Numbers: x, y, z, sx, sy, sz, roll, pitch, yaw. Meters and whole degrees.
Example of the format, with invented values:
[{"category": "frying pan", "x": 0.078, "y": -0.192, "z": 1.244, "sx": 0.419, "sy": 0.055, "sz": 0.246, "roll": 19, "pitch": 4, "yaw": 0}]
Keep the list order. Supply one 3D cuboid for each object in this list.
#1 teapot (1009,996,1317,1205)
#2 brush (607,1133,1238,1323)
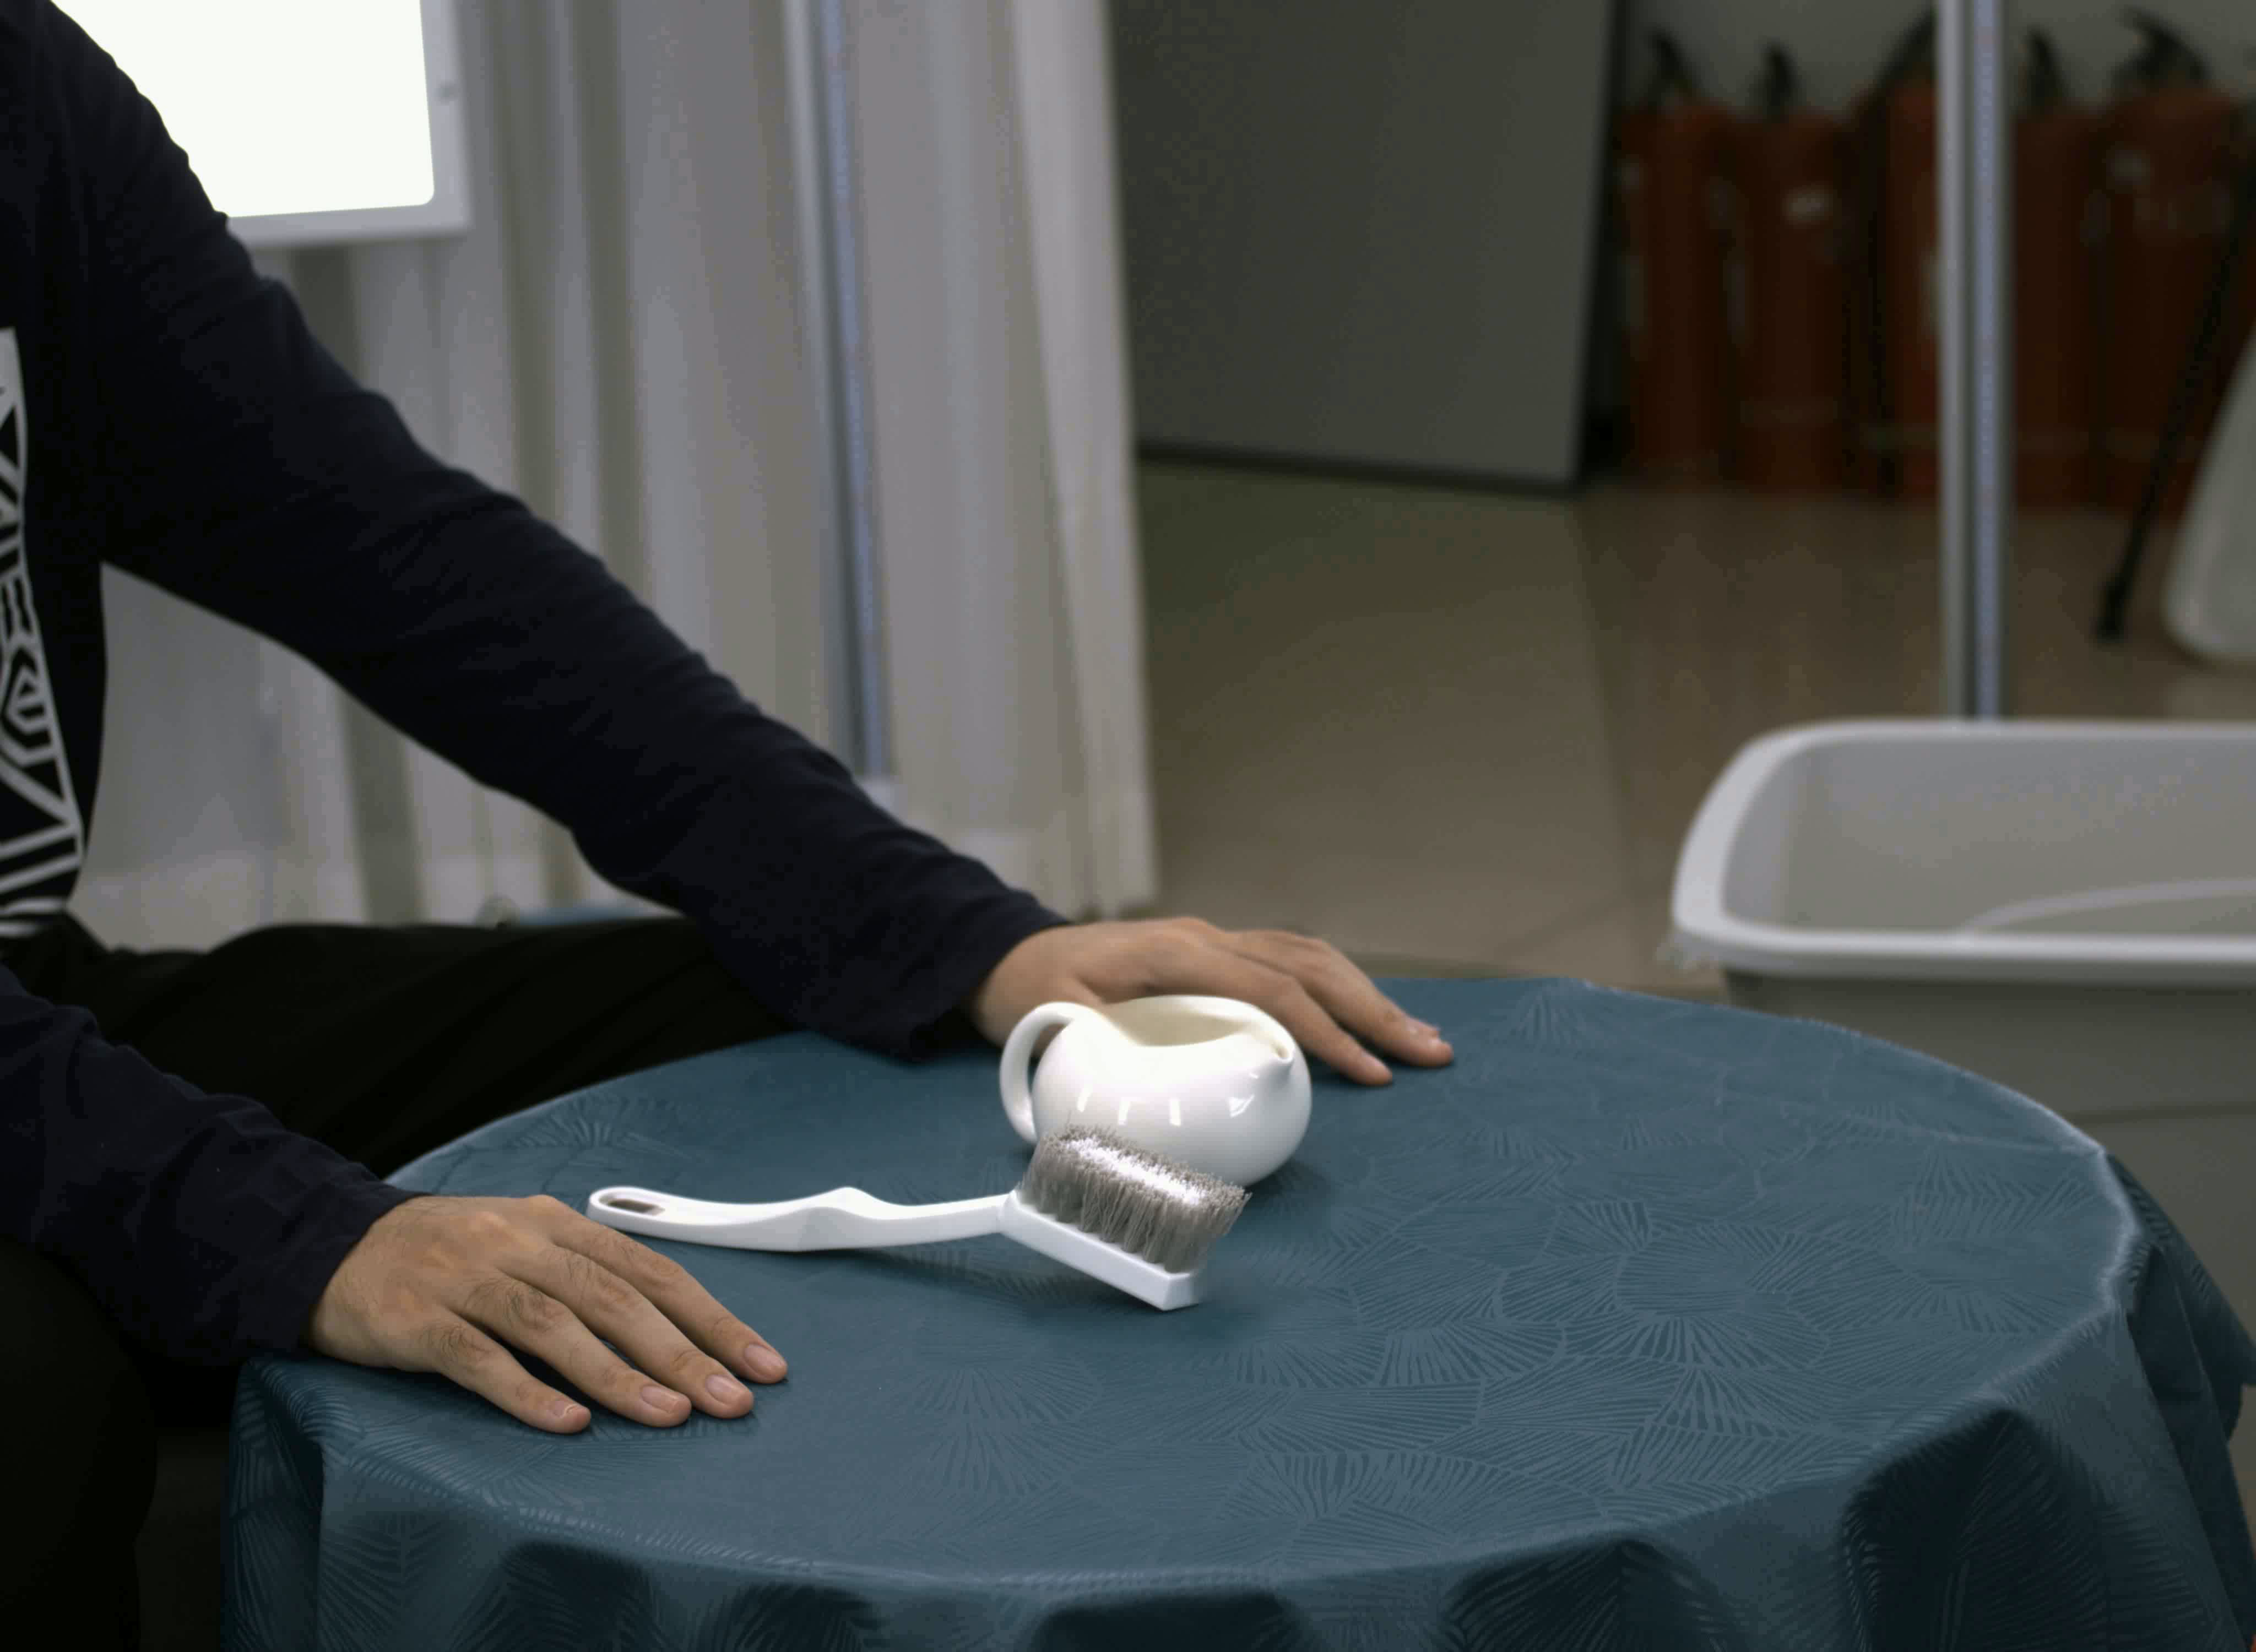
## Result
[{"category": "teapot", "x": 0.008, "y": 0.091, "z": 1.785, "sx": 0.128, "sy": 0.057, "sz": 0.092, "roll": 4, "pitch": 21, "yaw": 38}, {"category": "brush", "x": -0.071, "y": 0.117, "z": 1.717, "sx": 0.245, "sy": 0.051, "sz": 0.034, "roll": 6, "pitch": 21, "yaw": 35}]
